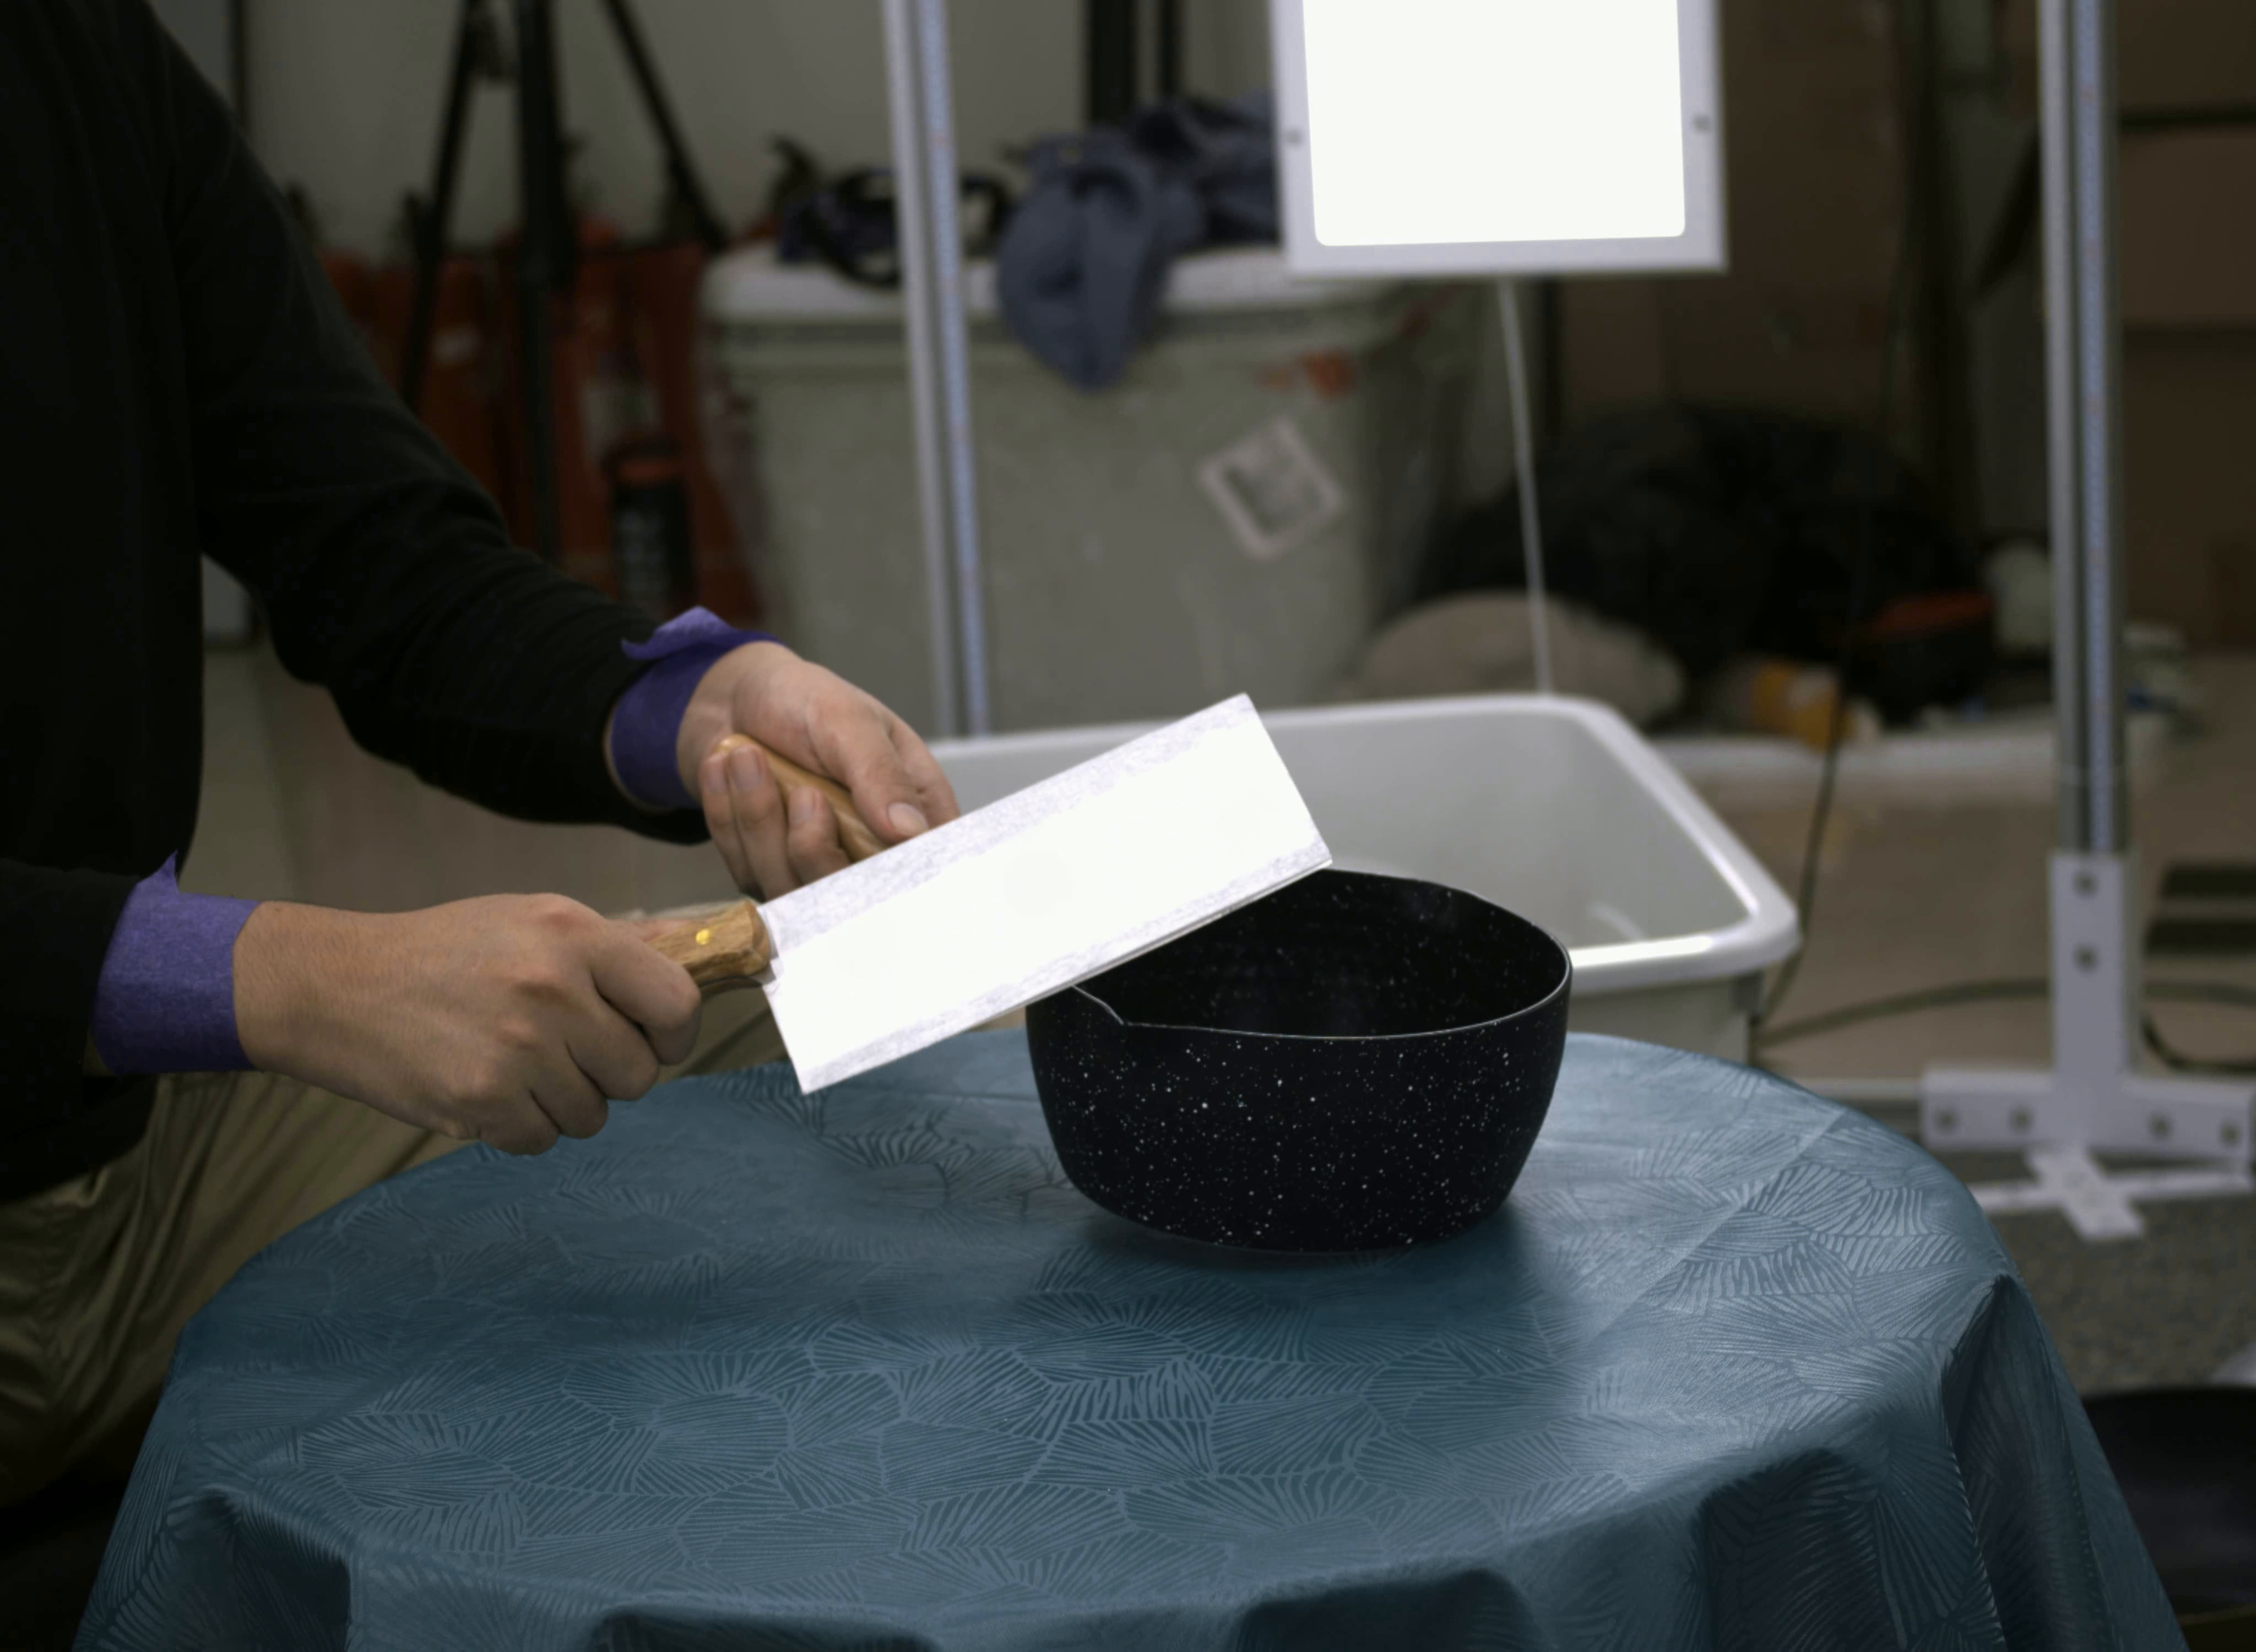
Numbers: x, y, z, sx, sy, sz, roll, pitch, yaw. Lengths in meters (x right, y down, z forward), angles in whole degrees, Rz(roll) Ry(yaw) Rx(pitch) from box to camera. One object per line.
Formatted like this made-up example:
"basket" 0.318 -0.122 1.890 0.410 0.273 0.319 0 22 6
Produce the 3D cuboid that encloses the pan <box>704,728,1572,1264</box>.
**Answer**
"pan" -0.011 0.054 1.895 0.349 0.109 0.202 15 21 32

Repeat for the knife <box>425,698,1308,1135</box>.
"knife" -0.085 0.044 1.826 0.305 0.021 0.093 -24 45 1
